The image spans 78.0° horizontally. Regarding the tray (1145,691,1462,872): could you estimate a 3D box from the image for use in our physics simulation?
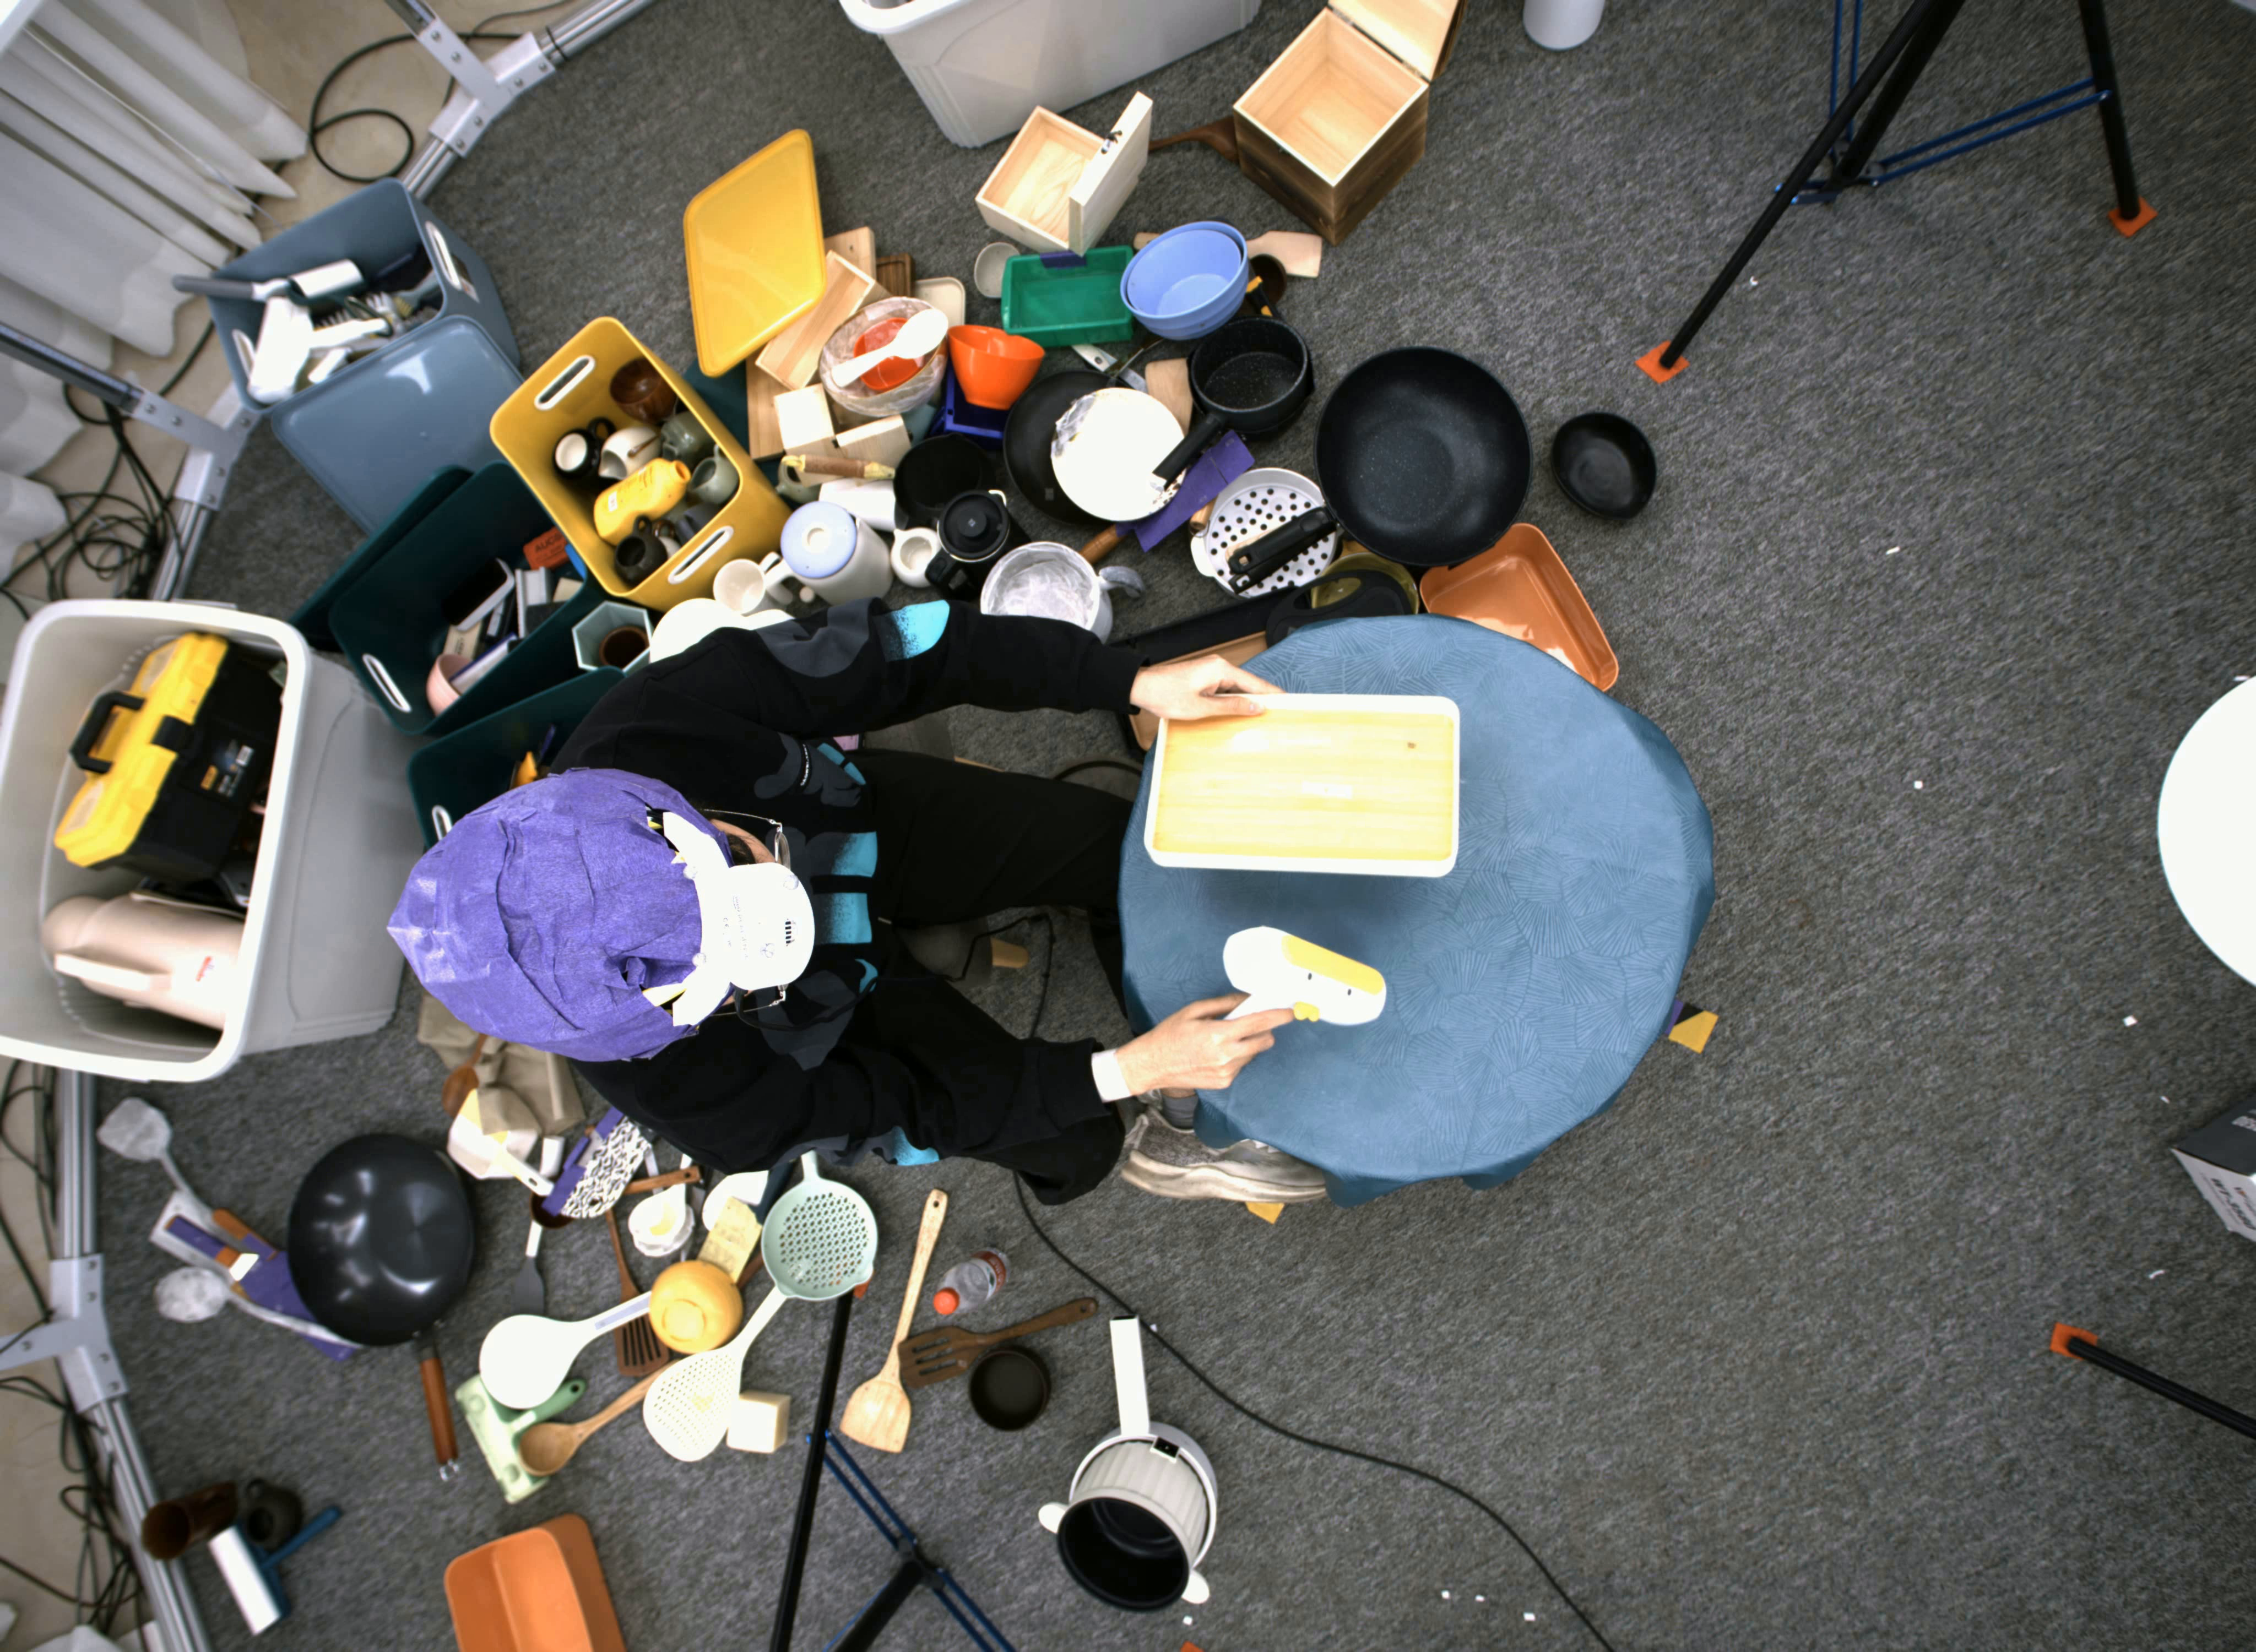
[{"bbox_3d":[0.174,-0.048,1.355,0.301,0.028,0.187,2,63,12],"label":"tray"}]

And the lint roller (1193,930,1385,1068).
[{"bbox_3d":[0.132,0.177,1.361,0.196,0.193,0.072,-35,50,40],"label":"lint roller"}]
